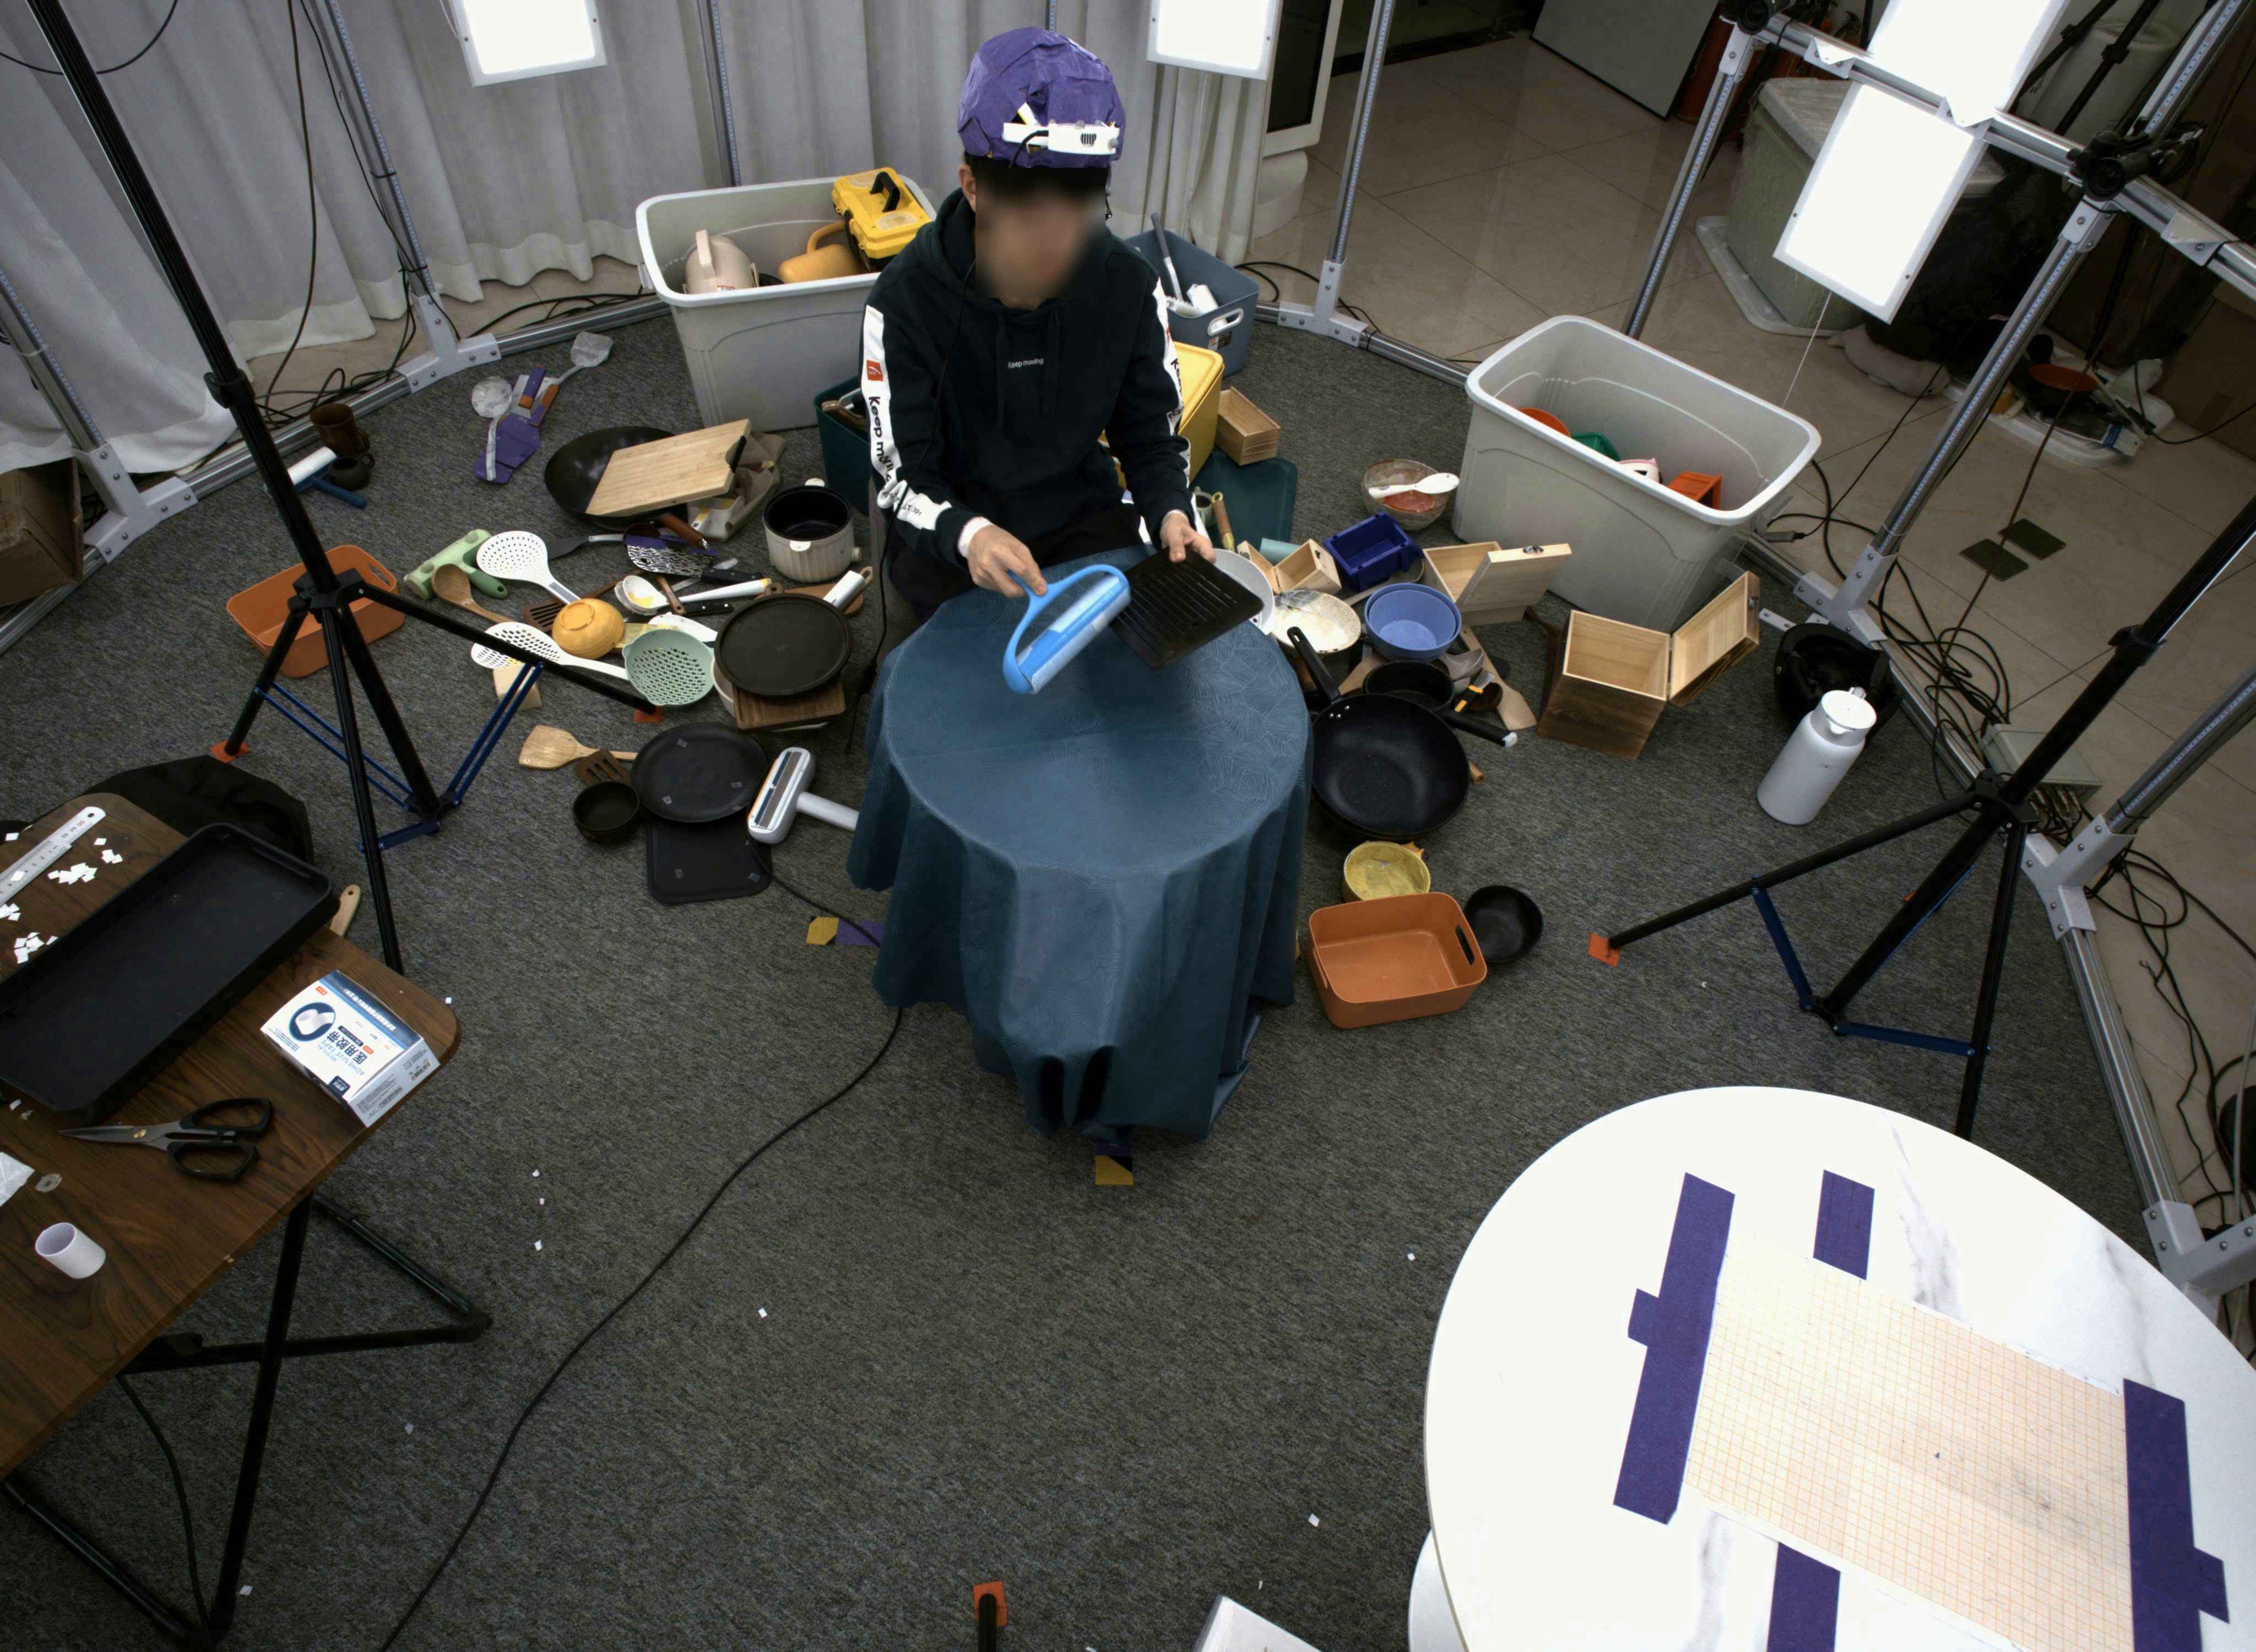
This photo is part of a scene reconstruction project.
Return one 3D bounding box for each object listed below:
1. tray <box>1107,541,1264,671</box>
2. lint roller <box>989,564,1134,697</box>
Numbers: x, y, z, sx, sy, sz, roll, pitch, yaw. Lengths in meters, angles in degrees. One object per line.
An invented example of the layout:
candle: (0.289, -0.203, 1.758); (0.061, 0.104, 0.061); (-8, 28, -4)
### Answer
tray: (0.057, -0.306, 1.765); (0.170, 0.018, 0.312); (-31, 32, -4)
lint roller: (-0.120, -0.299, 1.750); (0.180, 0.067, 0.231); (41, 74, 3)
